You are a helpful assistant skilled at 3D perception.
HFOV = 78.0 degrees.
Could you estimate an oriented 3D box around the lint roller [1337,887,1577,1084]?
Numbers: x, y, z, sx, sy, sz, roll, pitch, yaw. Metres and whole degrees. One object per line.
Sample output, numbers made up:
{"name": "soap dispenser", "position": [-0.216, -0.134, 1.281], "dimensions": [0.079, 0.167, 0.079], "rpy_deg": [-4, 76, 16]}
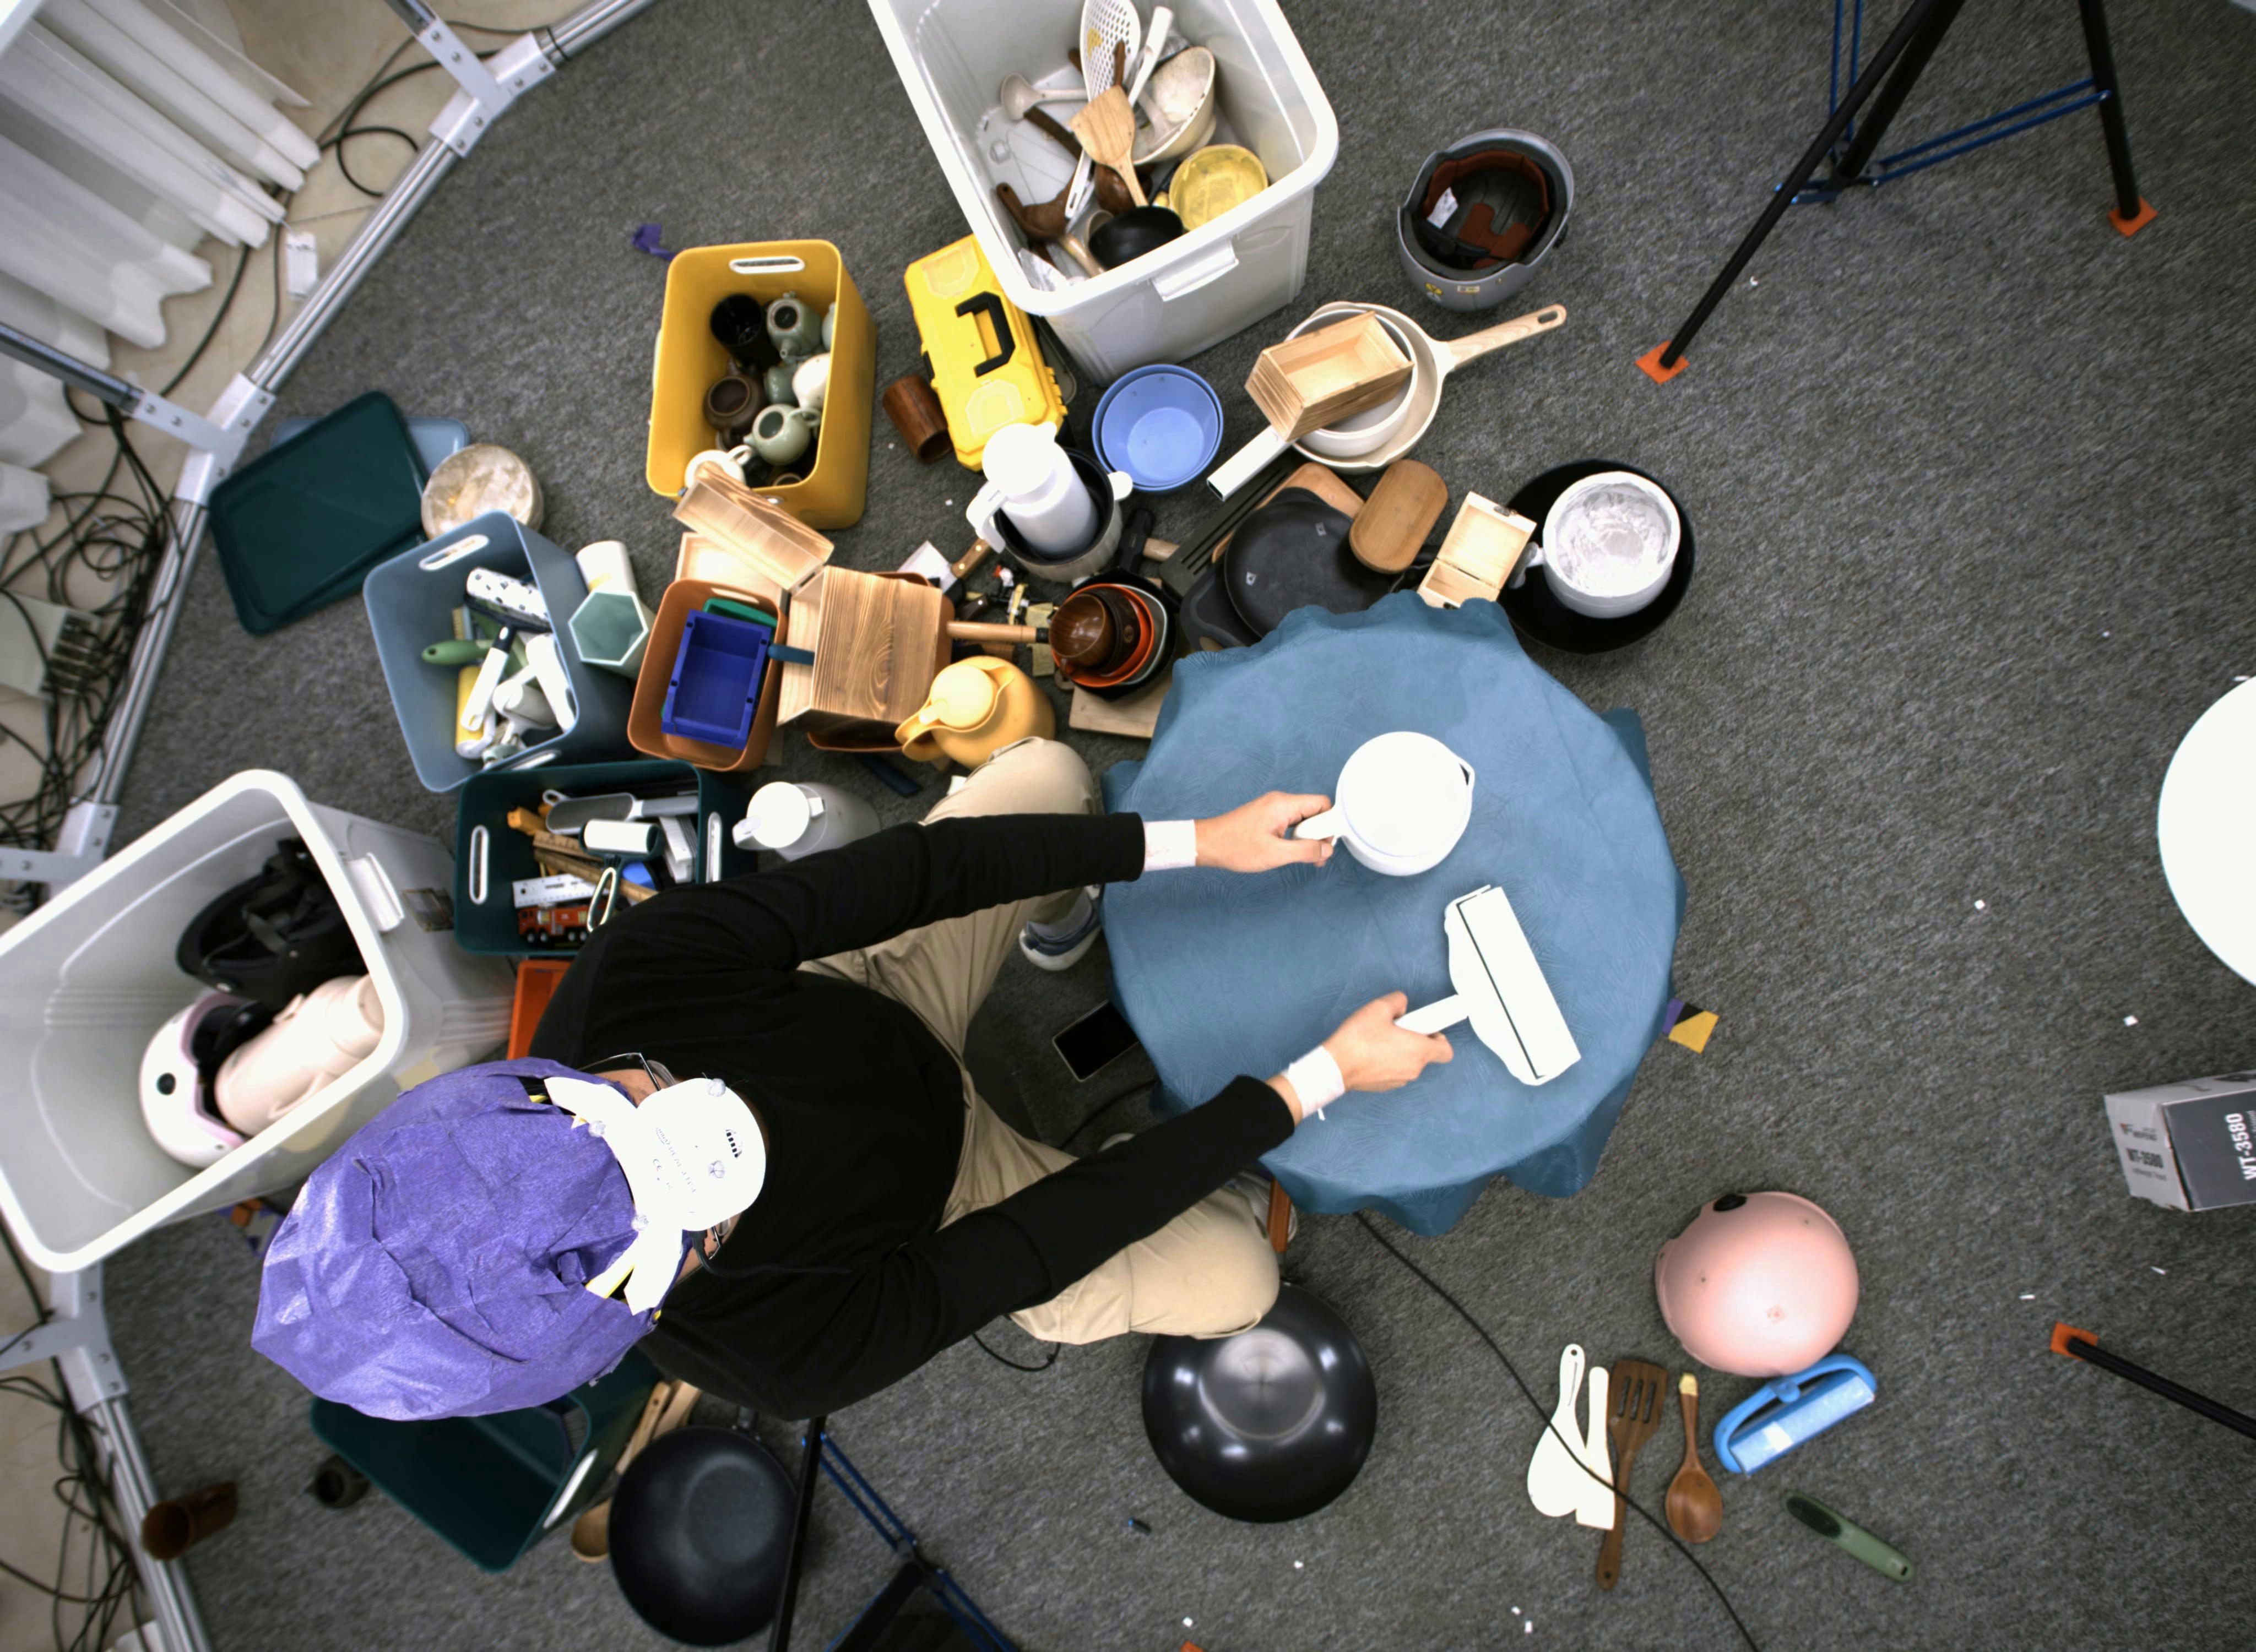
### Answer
{"name": "lint roller", "position": [0.317, 0.190, 1.403], "dimensions": [0.225, 0.048, 0.201], "rpy_deg": [-23, 84, -3]}

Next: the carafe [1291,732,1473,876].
{"name": "carafe", "position": [0.251, -0.013, 1.381], "dimensions": [0.192, 0.182, 0.131], "rpy_deg": [-21, 81, 10]}
